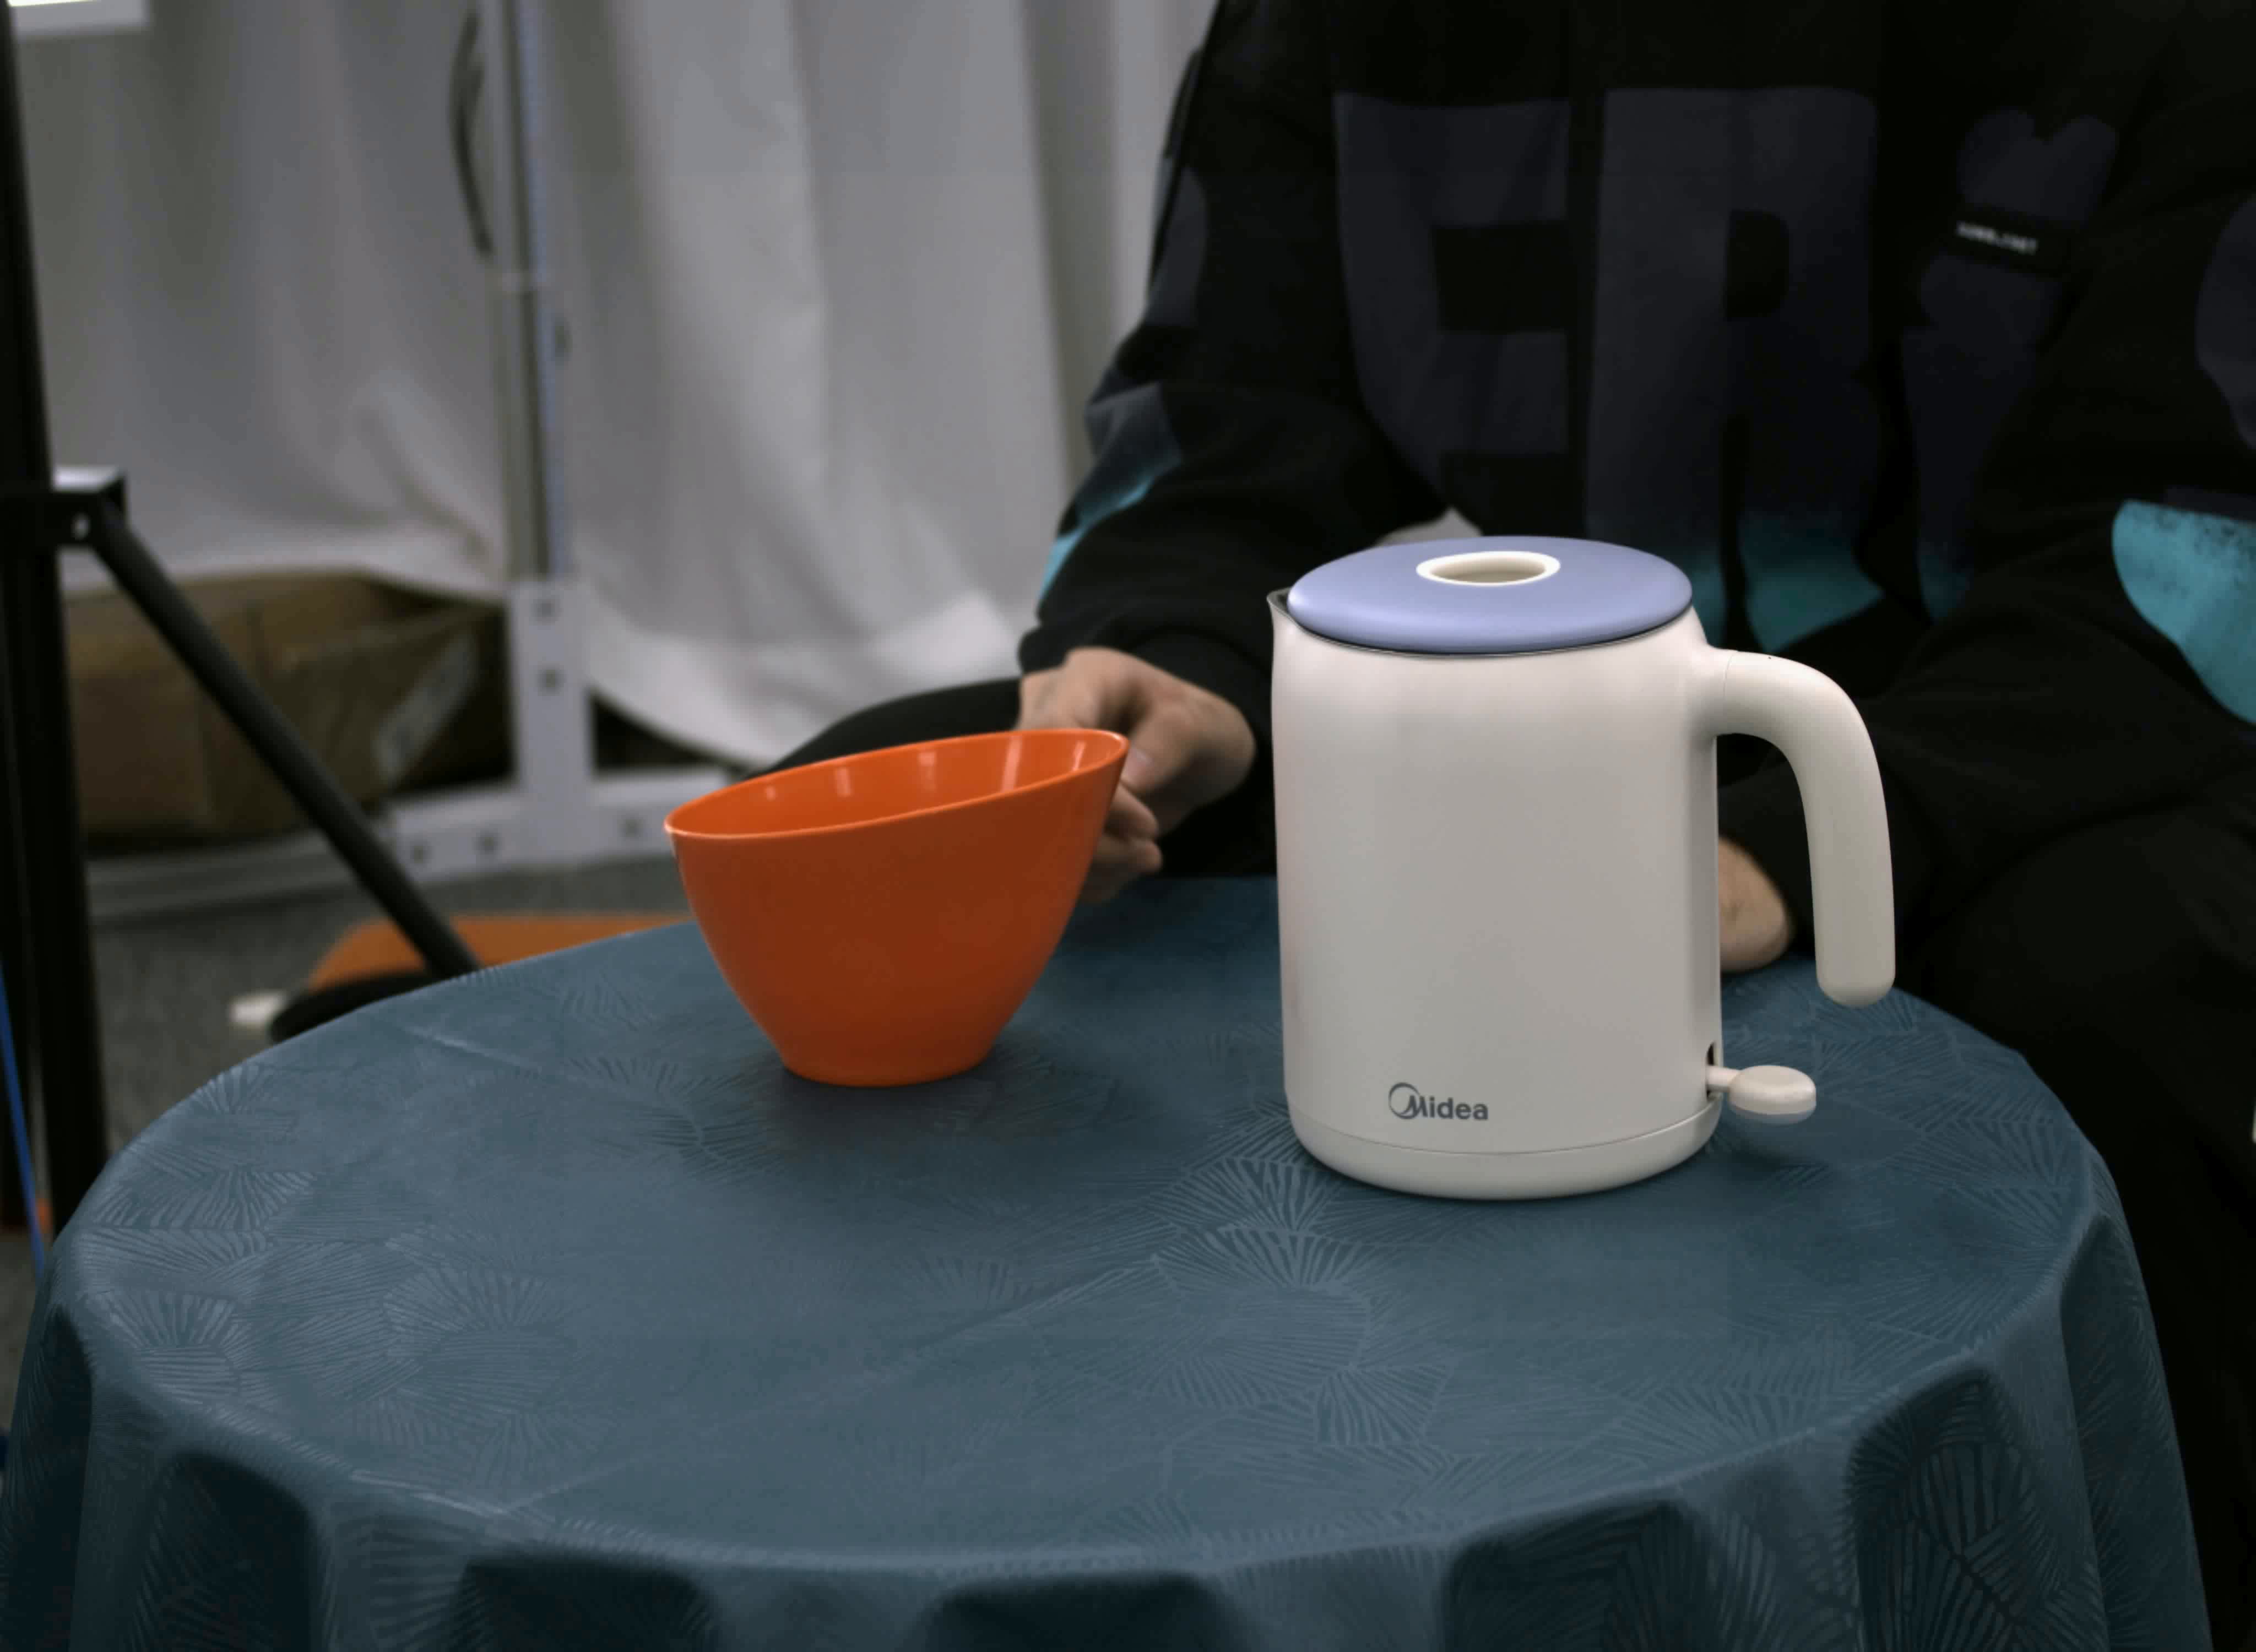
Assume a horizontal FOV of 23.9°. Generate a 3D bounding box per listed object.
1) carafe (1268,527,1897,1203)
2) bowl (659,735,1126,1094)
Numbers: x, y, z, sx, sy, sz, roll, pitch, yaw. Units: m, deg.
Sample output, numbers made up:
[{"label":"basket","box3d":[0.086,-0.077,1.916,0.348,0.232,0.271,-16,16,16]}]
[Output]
[{"label":"carafe","box3d":[0.132,0.013,1.559,0.193,0.182,0.131,6,18,20]},{"label":"bowl","box3d":[-0.072,0.027,1.672,0.147,0.104,0.149,-3,16,-1]}]
